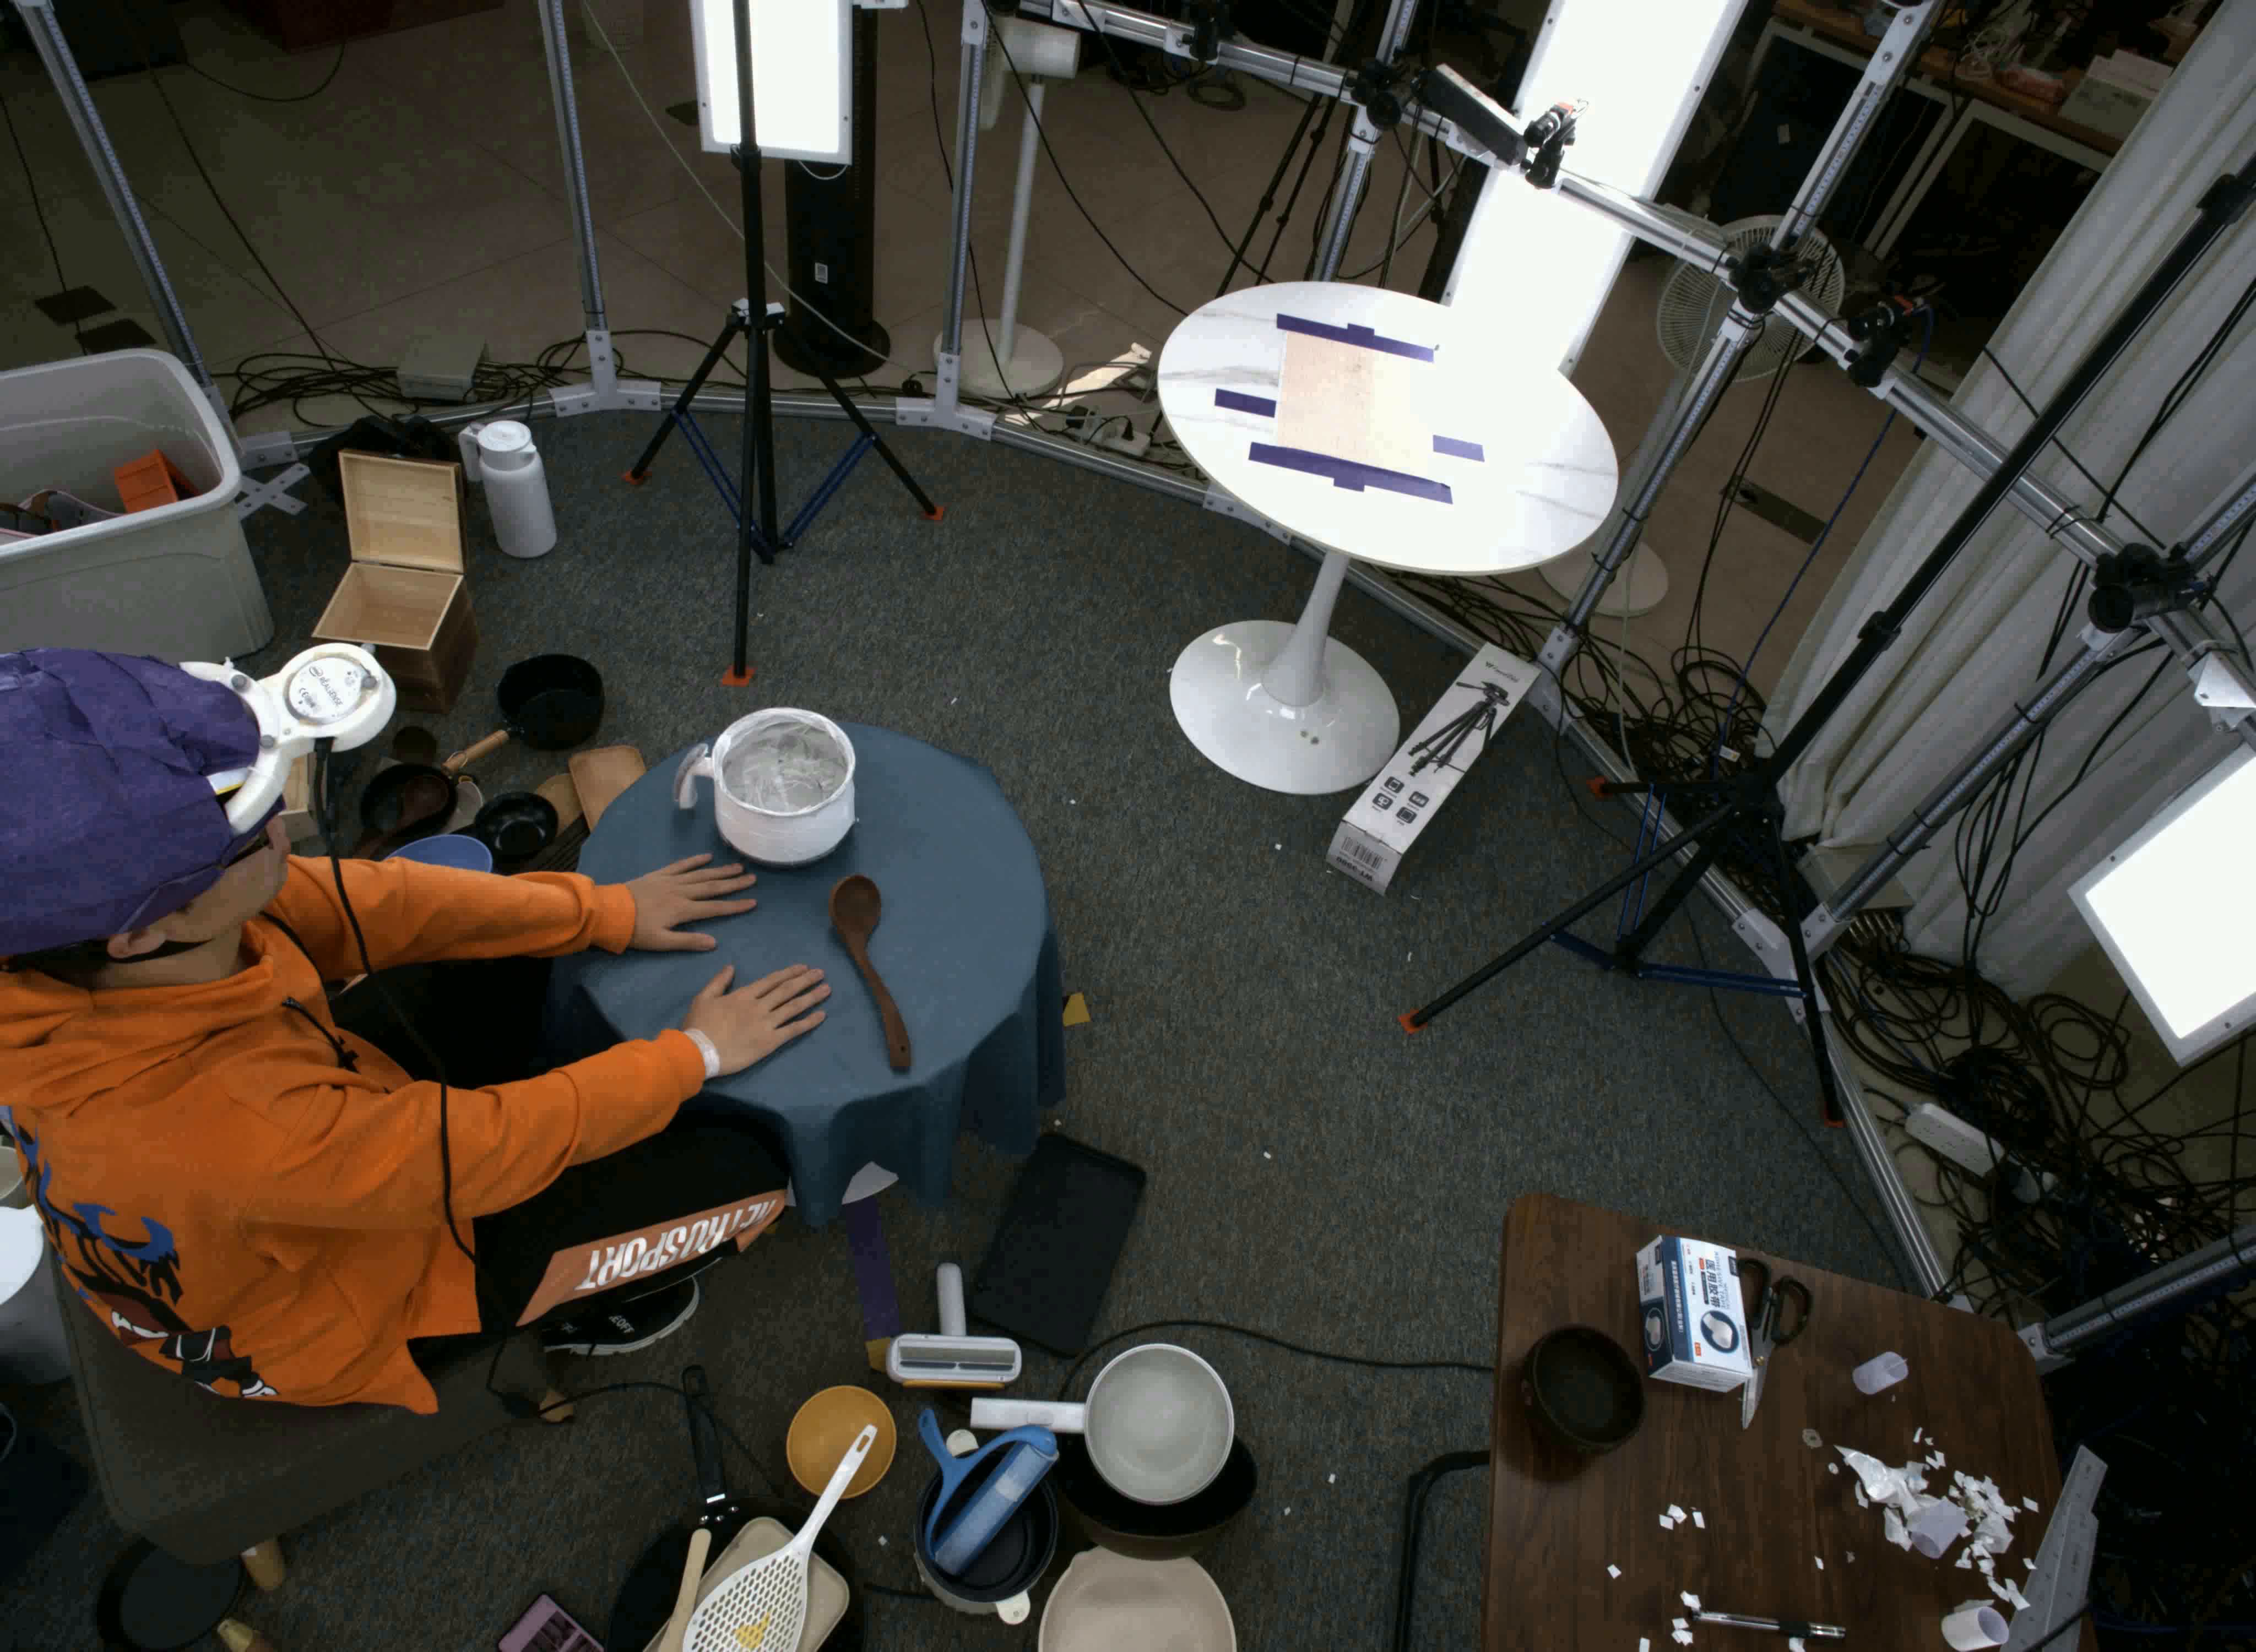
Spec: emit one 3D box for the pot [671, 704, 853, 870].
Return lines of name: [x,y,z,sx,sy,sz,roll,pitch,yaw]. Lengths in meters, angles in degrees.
pot: [-0.468,-0.049,1.649,0.233,0.139,0.175,7,51,-10]

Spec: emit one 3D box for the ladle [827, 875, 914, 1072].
ladle: [-0.302,0.172,1.578,0.078,0.065,0.253,3,48,-44]
